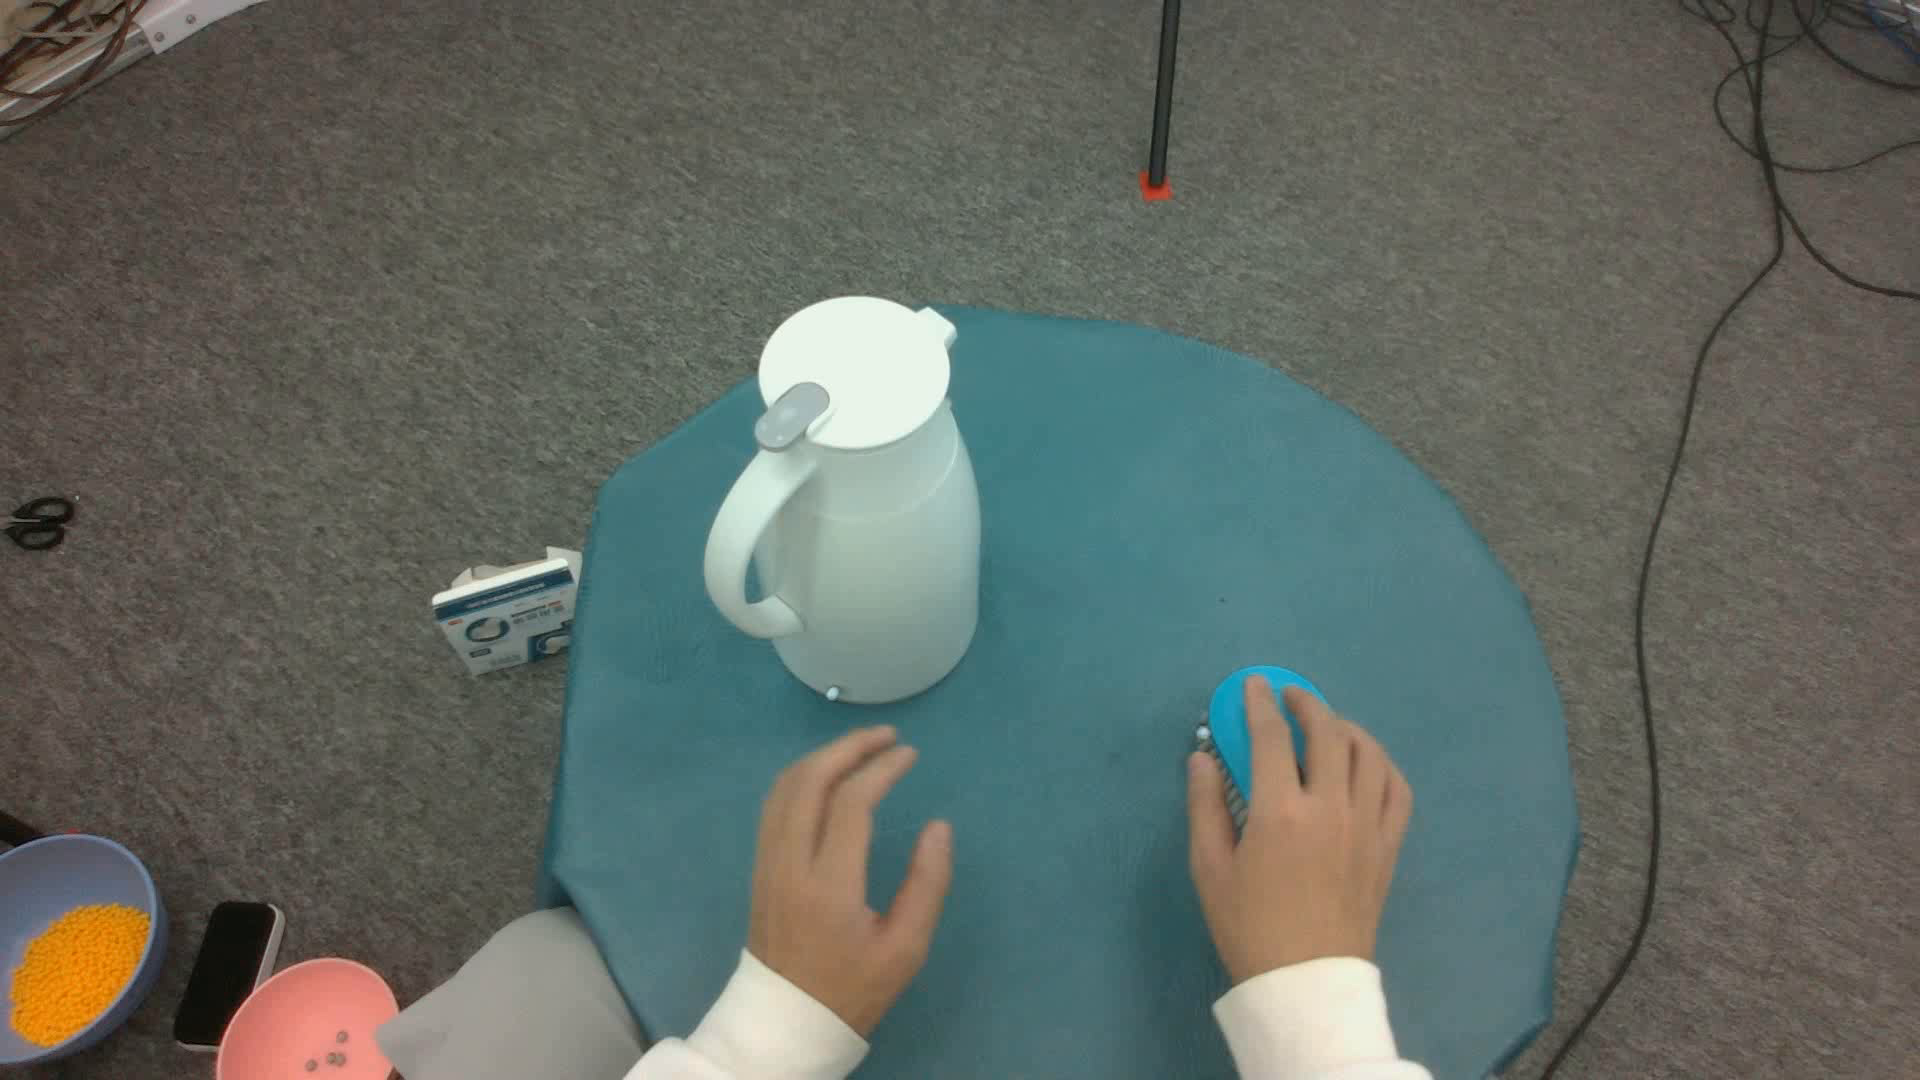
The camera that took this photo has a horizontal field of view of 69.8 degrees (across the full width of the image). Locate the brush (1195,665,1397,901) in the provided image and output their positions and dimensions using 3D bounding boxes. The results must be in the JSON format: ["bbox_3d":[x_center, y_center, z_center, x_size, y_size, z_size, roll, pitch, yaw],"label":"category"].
[{"bbox_3d":[0.196,0.129,0.787,0.084,0.063,0.142,-15,59,-16],"label":"brush"}]

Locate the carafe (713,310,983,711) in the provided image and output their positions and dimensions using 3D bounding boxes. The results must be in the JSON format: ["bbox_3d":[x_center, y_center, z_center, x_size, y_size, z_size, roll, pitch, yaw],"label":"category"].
[{"bbox_3d":[-0.063,-0.003,0.760,0.132,0.247,0.168,36,65,20],"label":"carafe"}]
